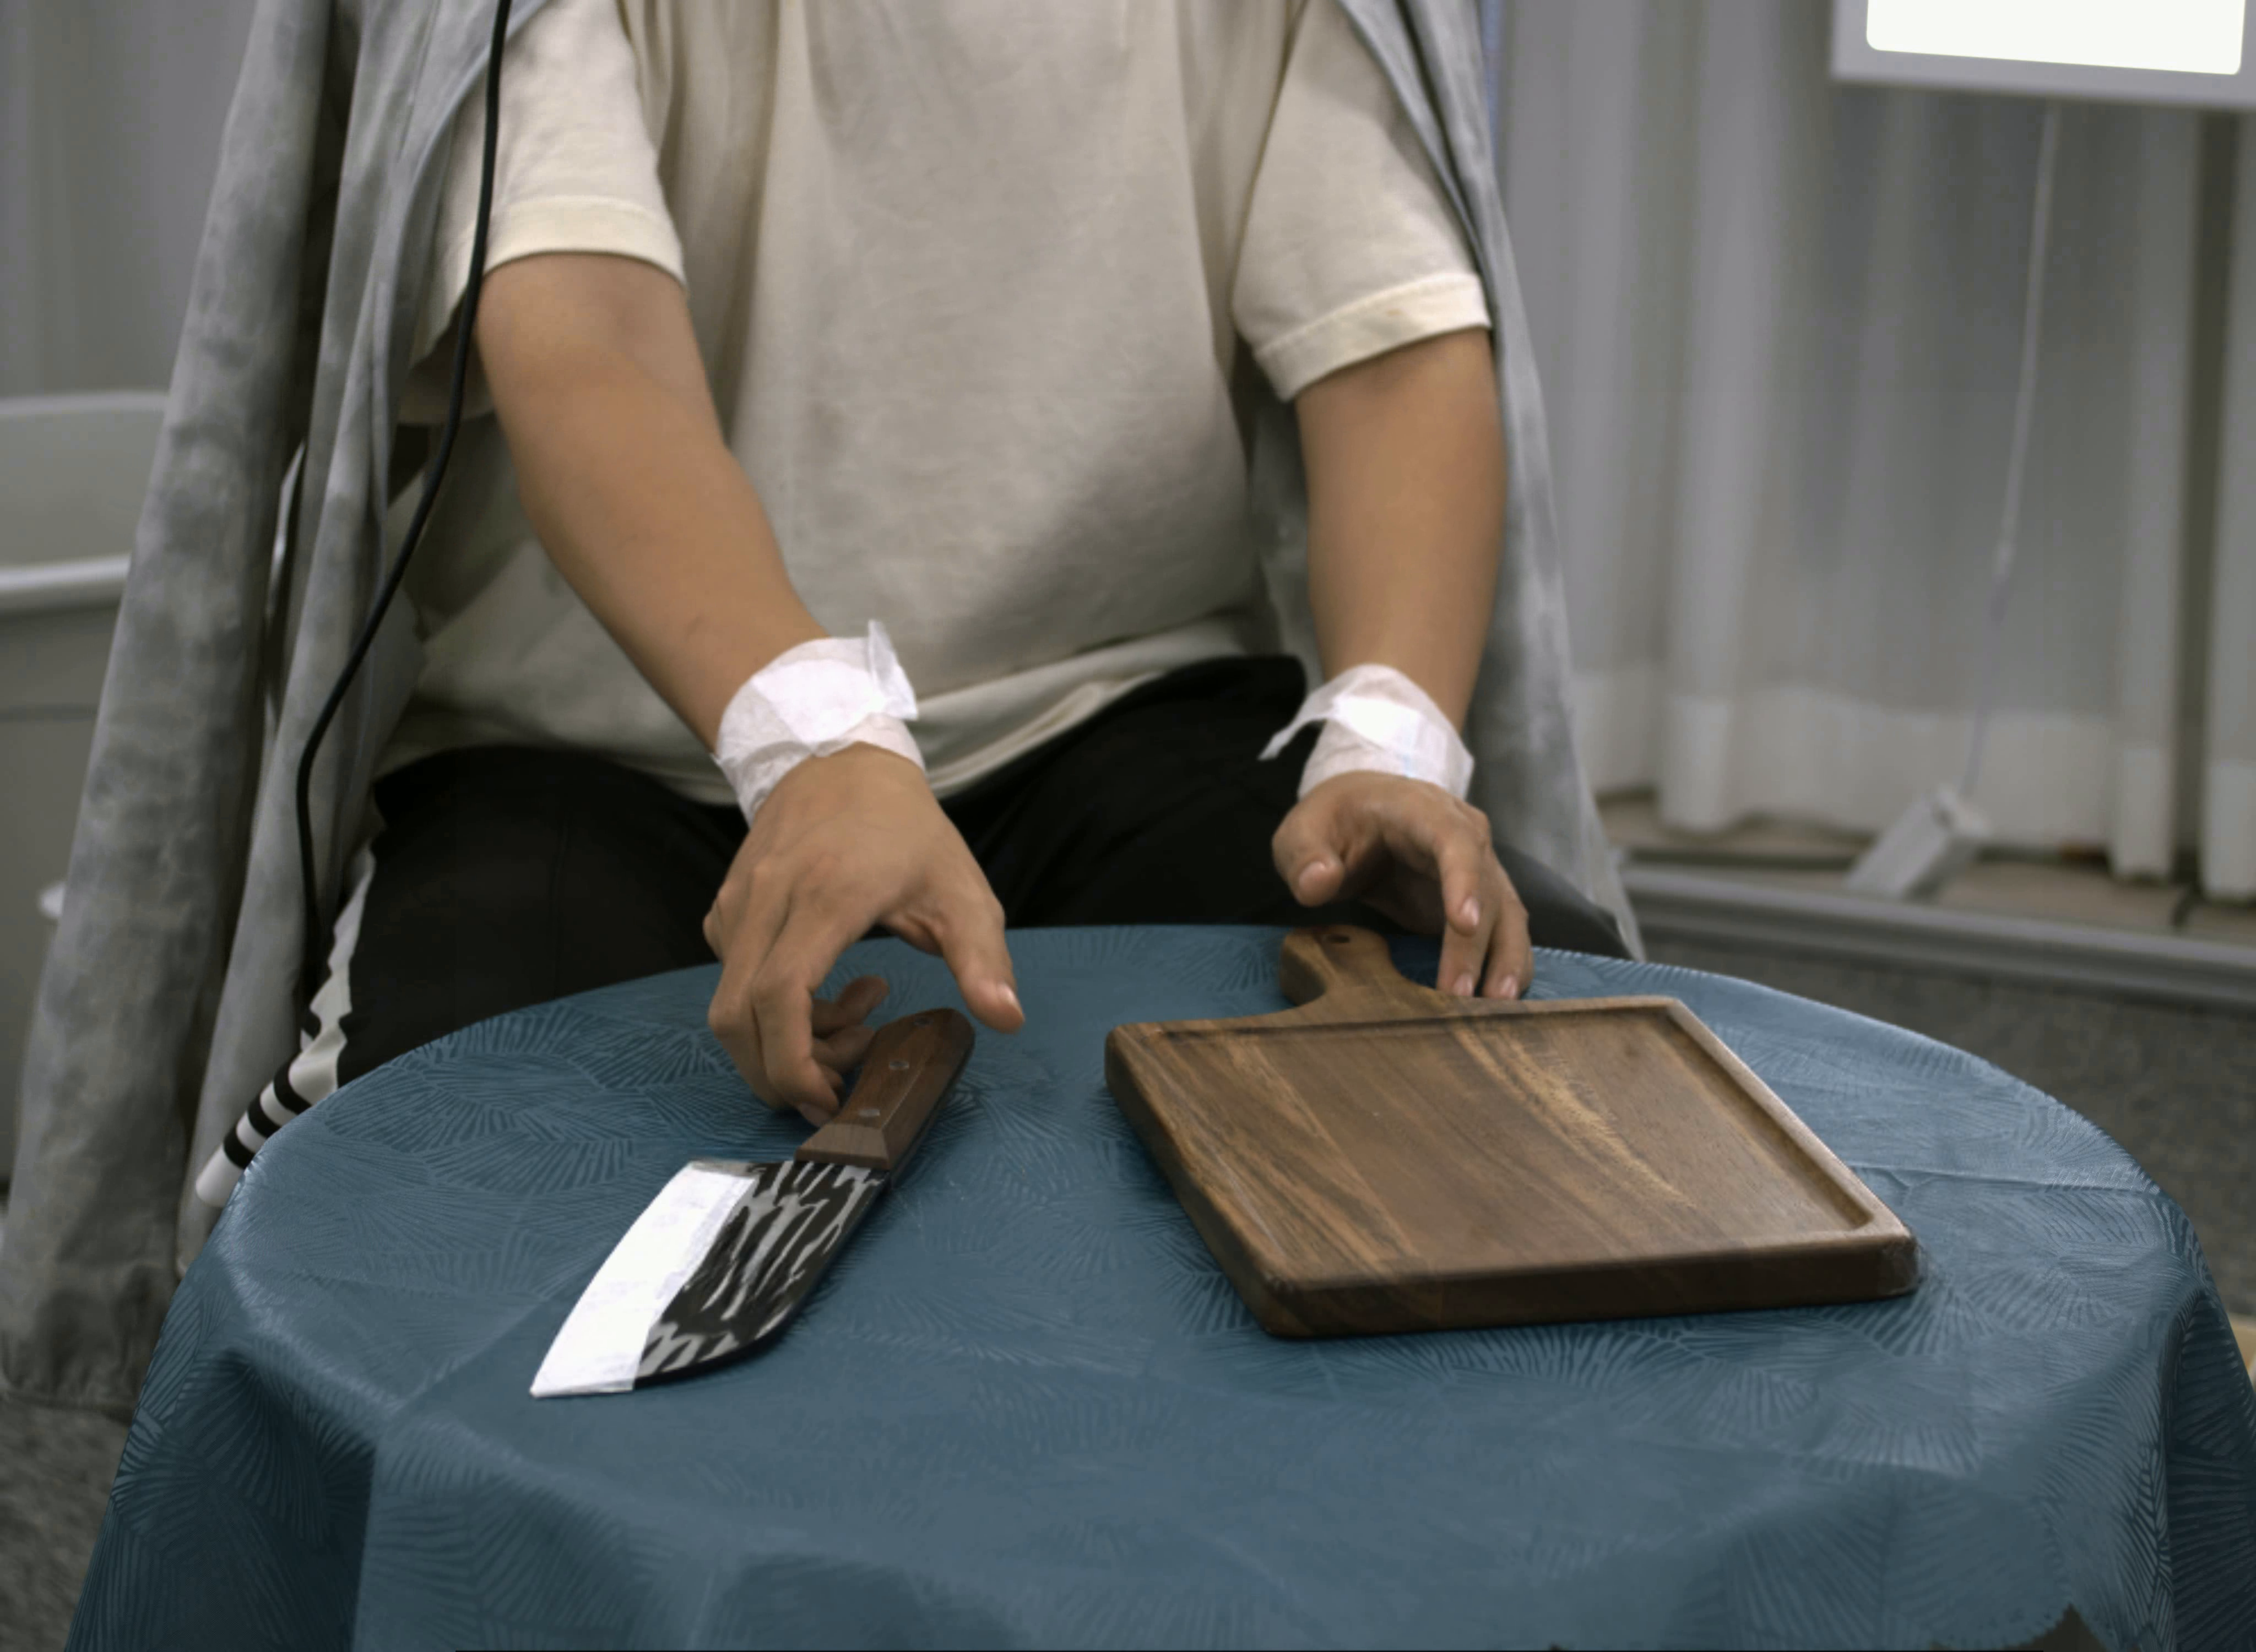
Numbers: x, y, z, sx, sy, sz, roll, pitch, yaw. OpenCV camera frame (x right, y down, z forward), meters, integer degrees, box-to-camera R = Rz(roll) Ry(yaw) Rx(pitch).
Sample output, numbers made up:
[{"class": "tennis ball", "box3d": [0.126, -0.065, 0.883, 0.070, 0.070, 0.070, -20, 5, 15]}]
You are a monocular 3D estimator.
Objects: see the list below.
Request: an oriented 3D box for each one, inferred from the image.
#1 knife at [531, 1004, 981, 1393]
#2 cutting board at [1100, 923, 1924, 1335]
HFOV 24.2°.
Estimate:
[{"class": "knife", "box3d": [-0.108, 0.112, 1.588, 0.067, 0.024, 0.299, 2, 18, 14]}, {"class": "cutting board", "box3d": [0.102, 0.088, 1.679, 0.201, 0.023, 0.349, -3, 15, -12]}]
